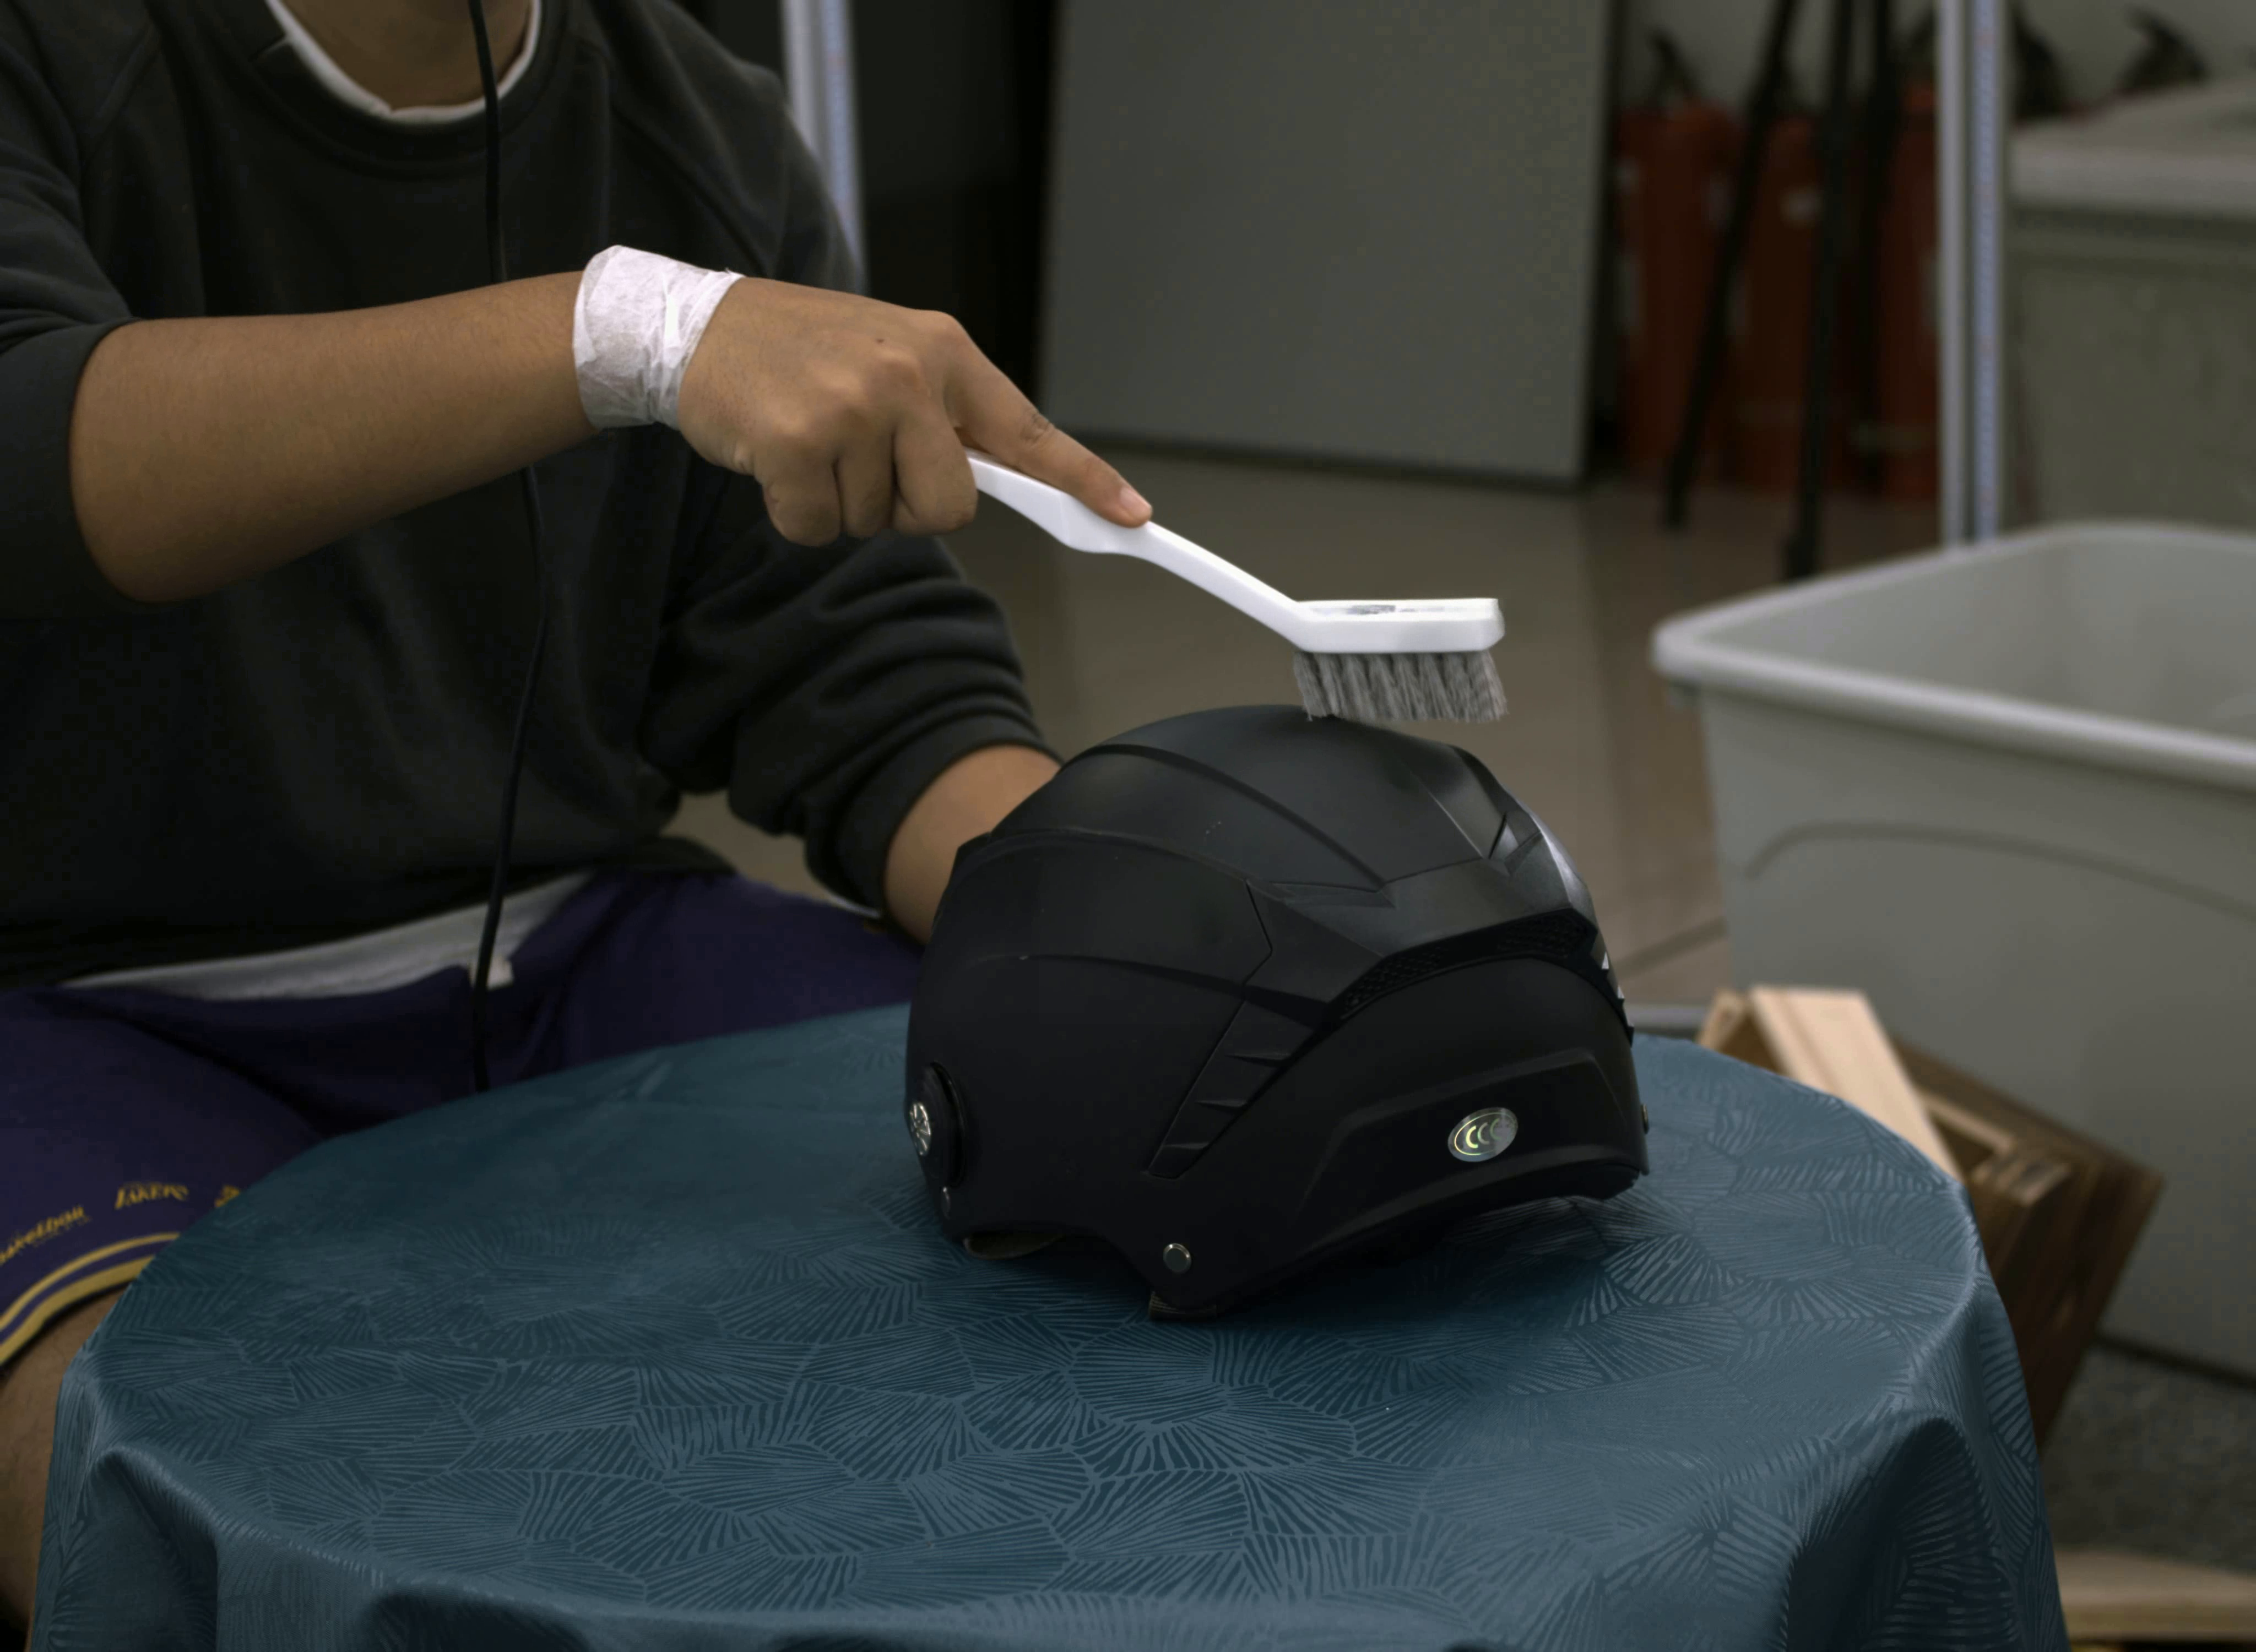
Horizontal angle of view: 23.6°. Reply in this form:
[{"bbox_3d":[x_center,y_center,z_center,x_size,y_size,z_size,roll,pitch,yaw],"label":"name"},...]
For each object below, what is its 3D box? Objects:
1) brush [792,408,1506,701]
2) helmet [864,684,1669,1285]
[{"bbox_3d":[0.006,-0.081,1.713,0.241,0.051,0.034,15,13,3],"label":"brush"},{"bbox_3d":[0.045,0.042,1.726,0.241,0.174,0.279,-13,20,-25],"label":"helmet"}]
